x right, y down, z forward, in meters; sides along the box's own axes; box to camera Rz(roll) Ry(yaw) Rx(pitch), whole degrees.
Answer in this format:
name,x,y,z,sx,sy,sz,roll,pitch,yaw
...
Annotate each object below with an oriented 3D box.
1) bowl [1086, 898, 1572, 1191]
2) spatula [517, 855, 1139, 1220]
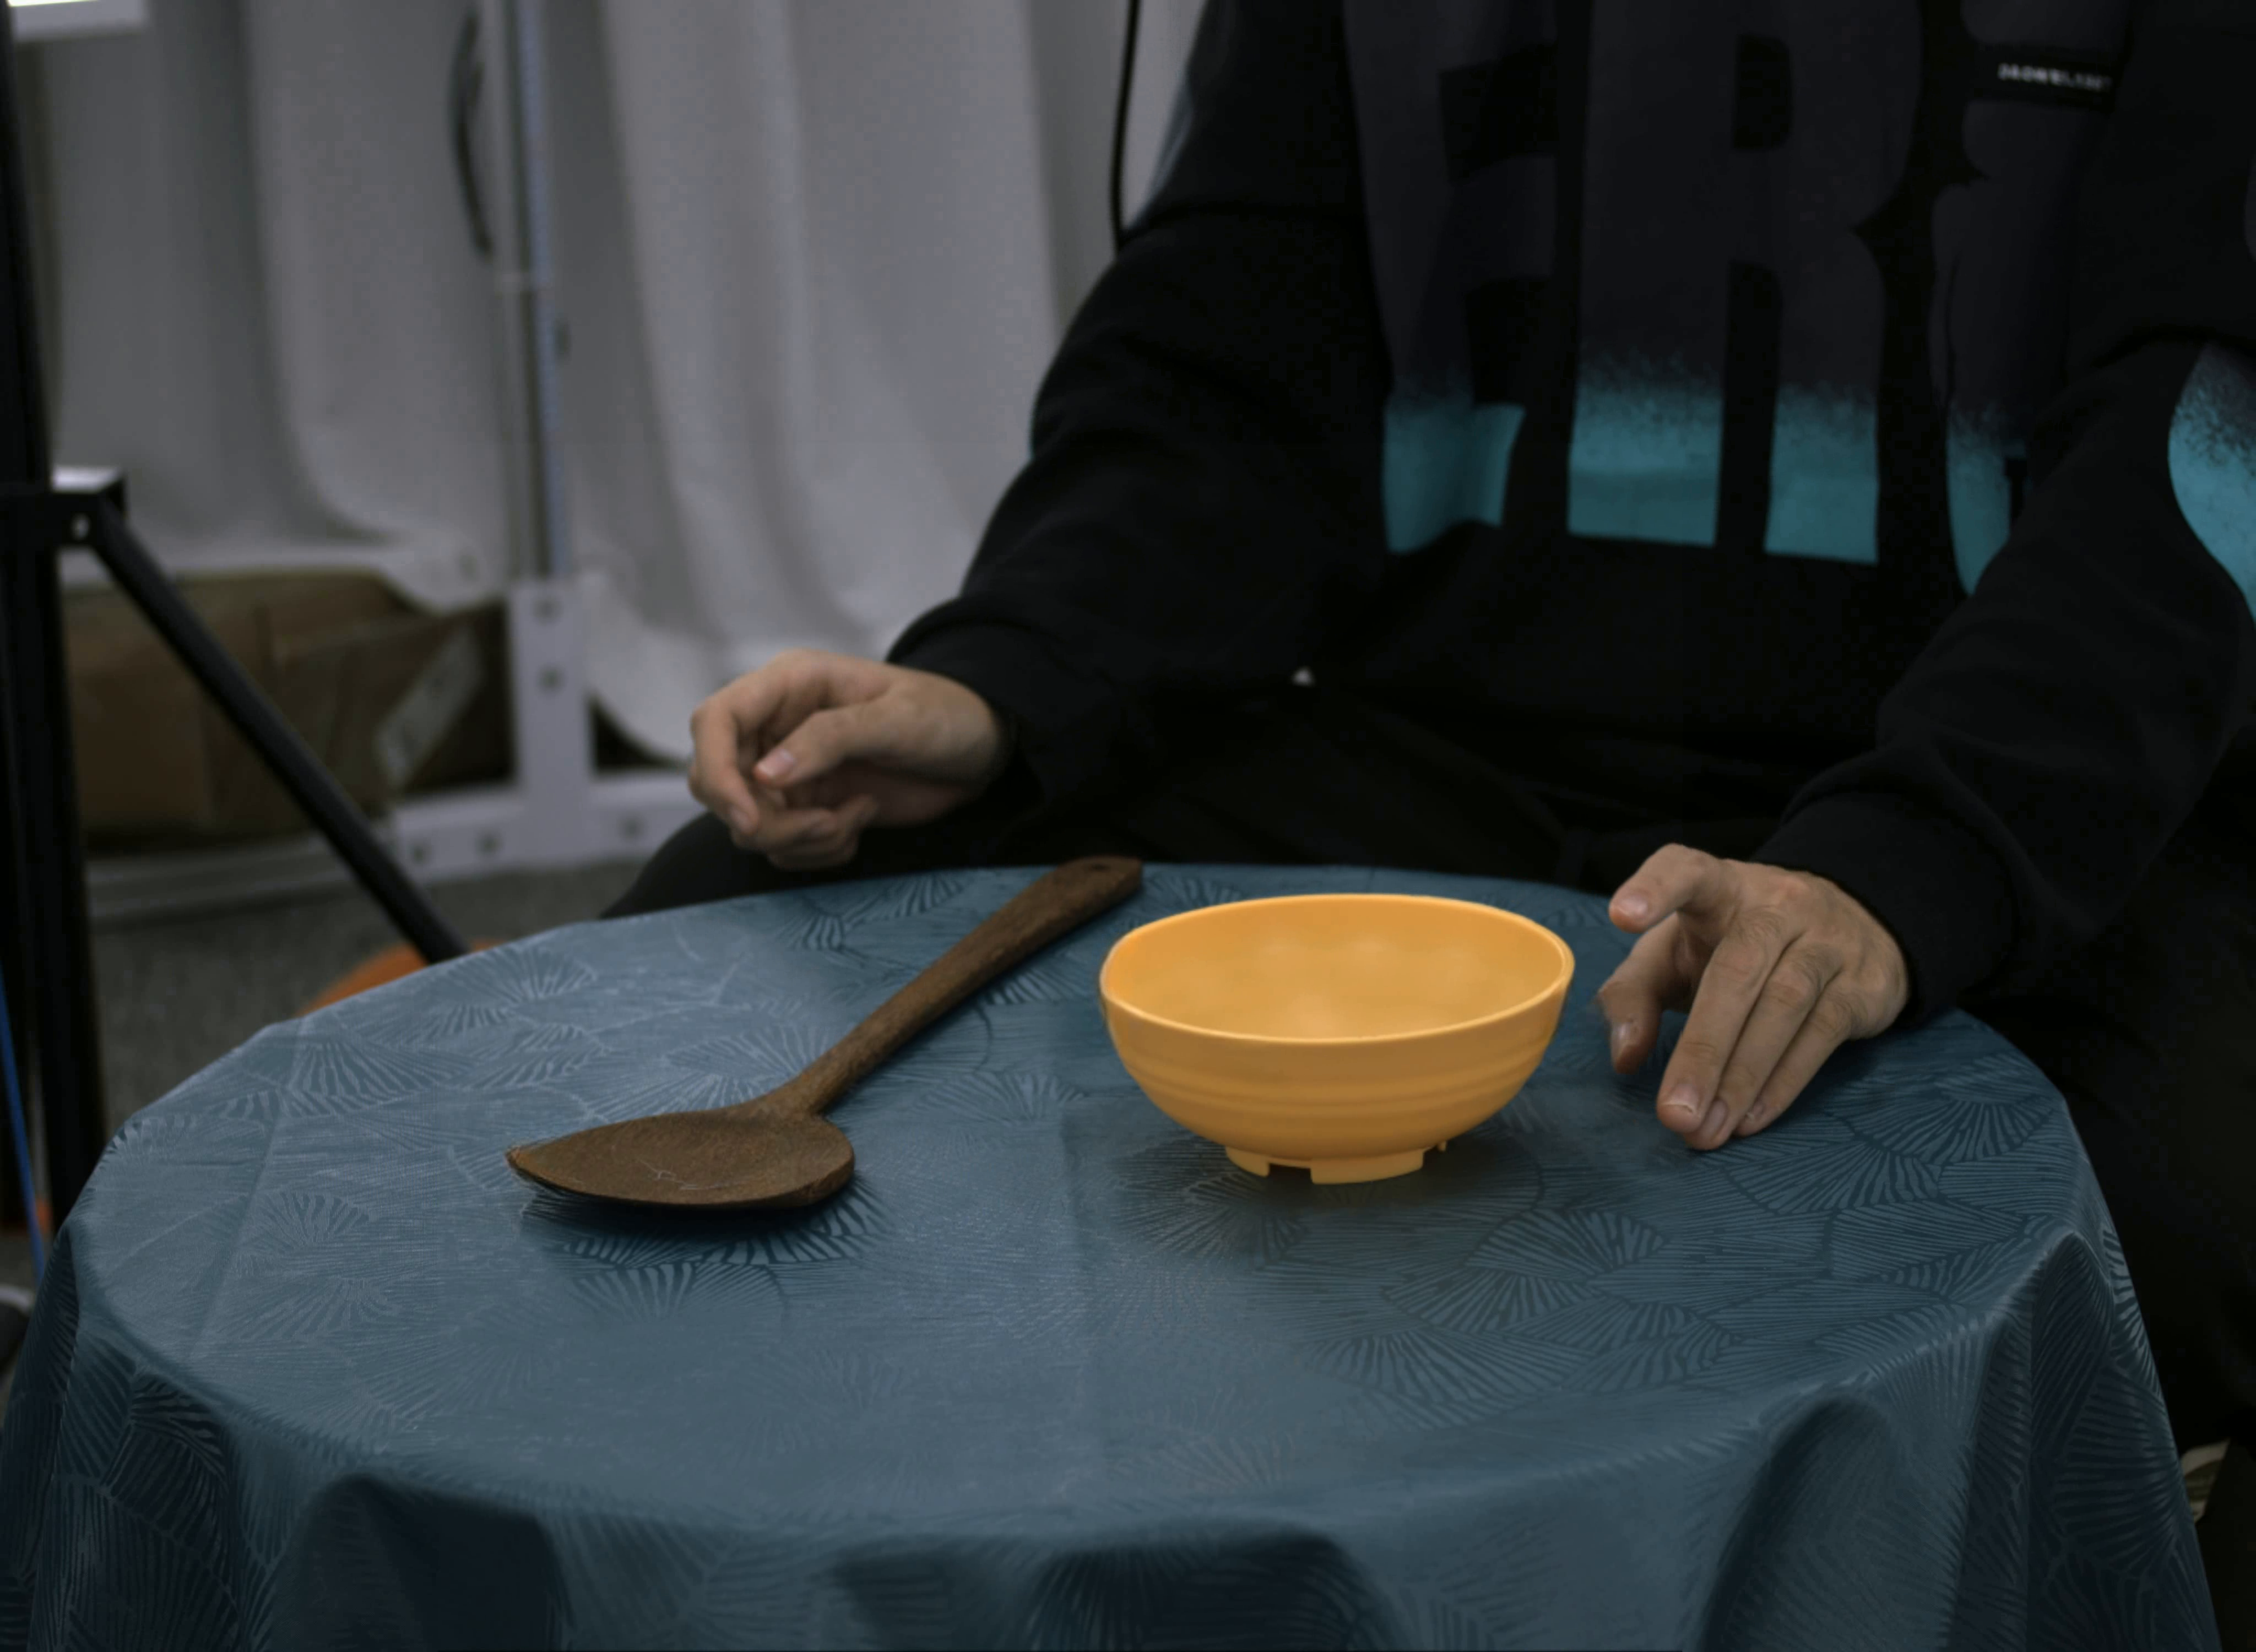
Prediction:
name,x,y,z,sx,sy,sz,roll,pitch,yaw
bowl,0.059,0.070,1.580,0.144,0.060,0.146,0,16,-1
spatula,-0.074,0.062,1.708,0.097,0.016,0.381,4,17,21
